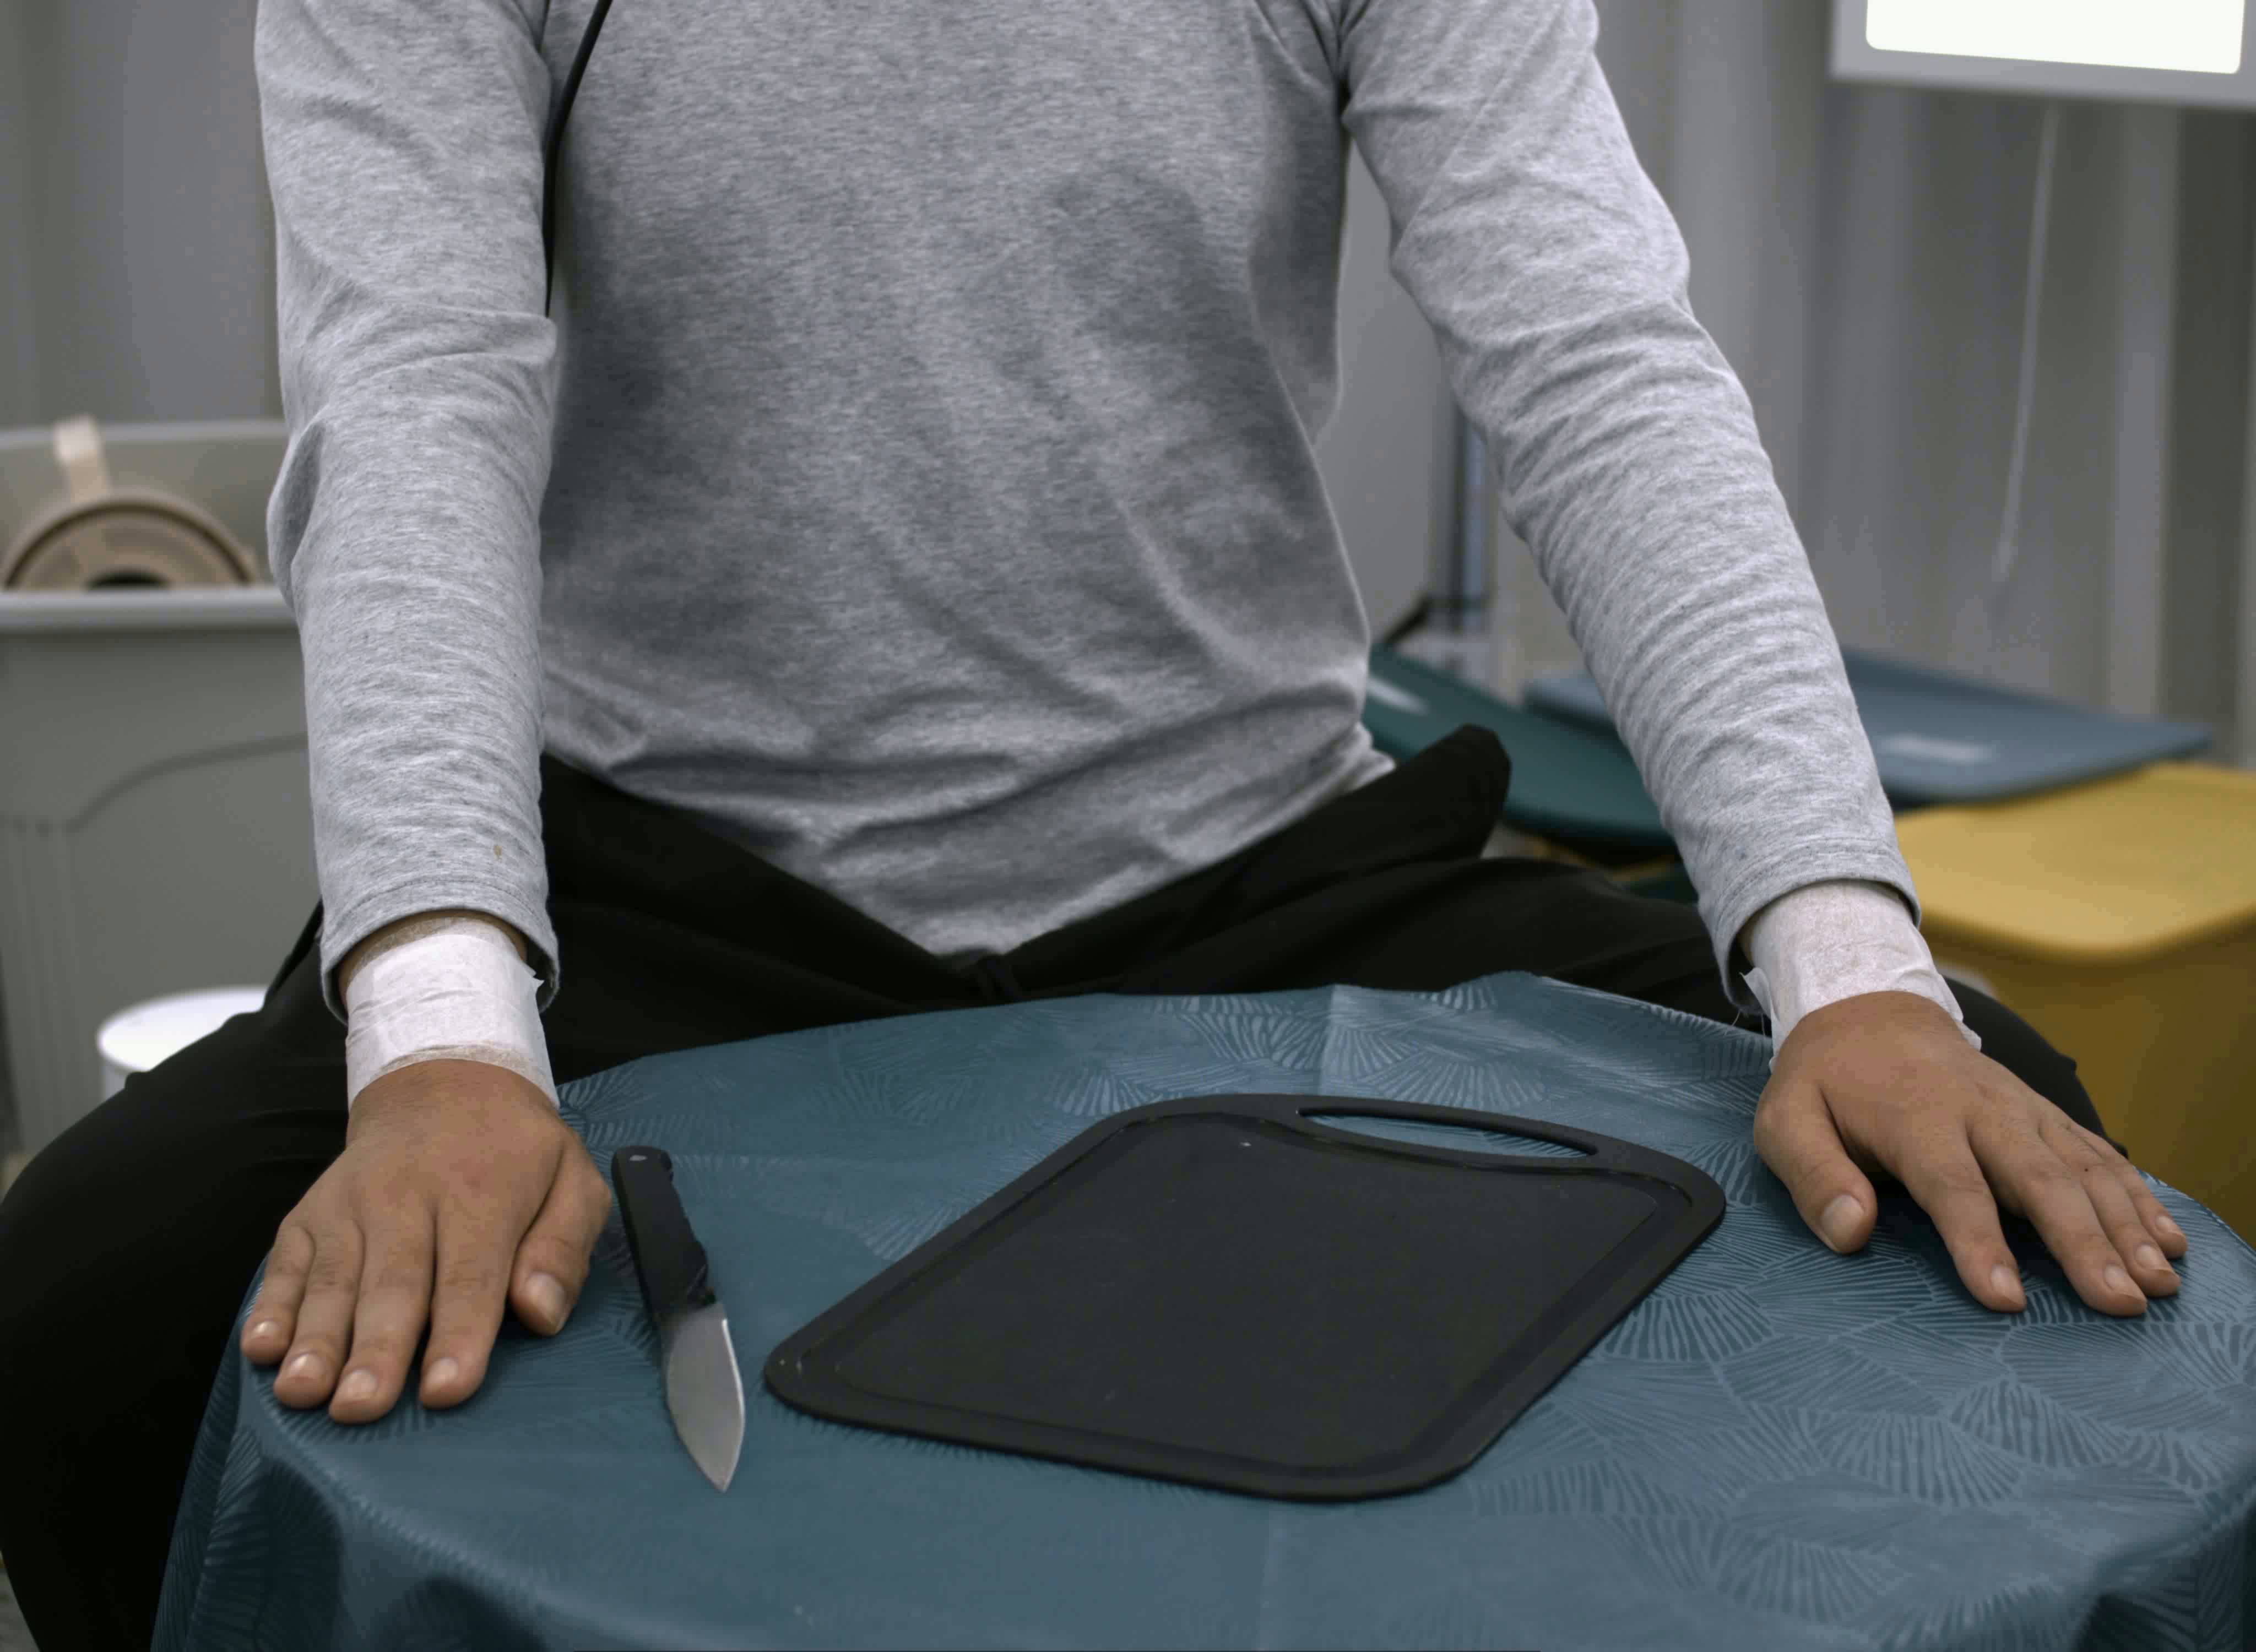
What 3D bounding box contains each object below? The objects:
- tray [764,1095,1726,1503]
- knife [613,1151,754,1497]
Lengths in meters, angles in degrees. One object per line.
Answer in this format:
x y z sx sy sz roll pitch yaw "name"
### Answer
0.044 0.130 1.554 0.209 0.010 0.326 8 17 23 "tray"
-0.128 0.141 1.497 0.024 0.016 0.236 -5 19 -10 "knife"
